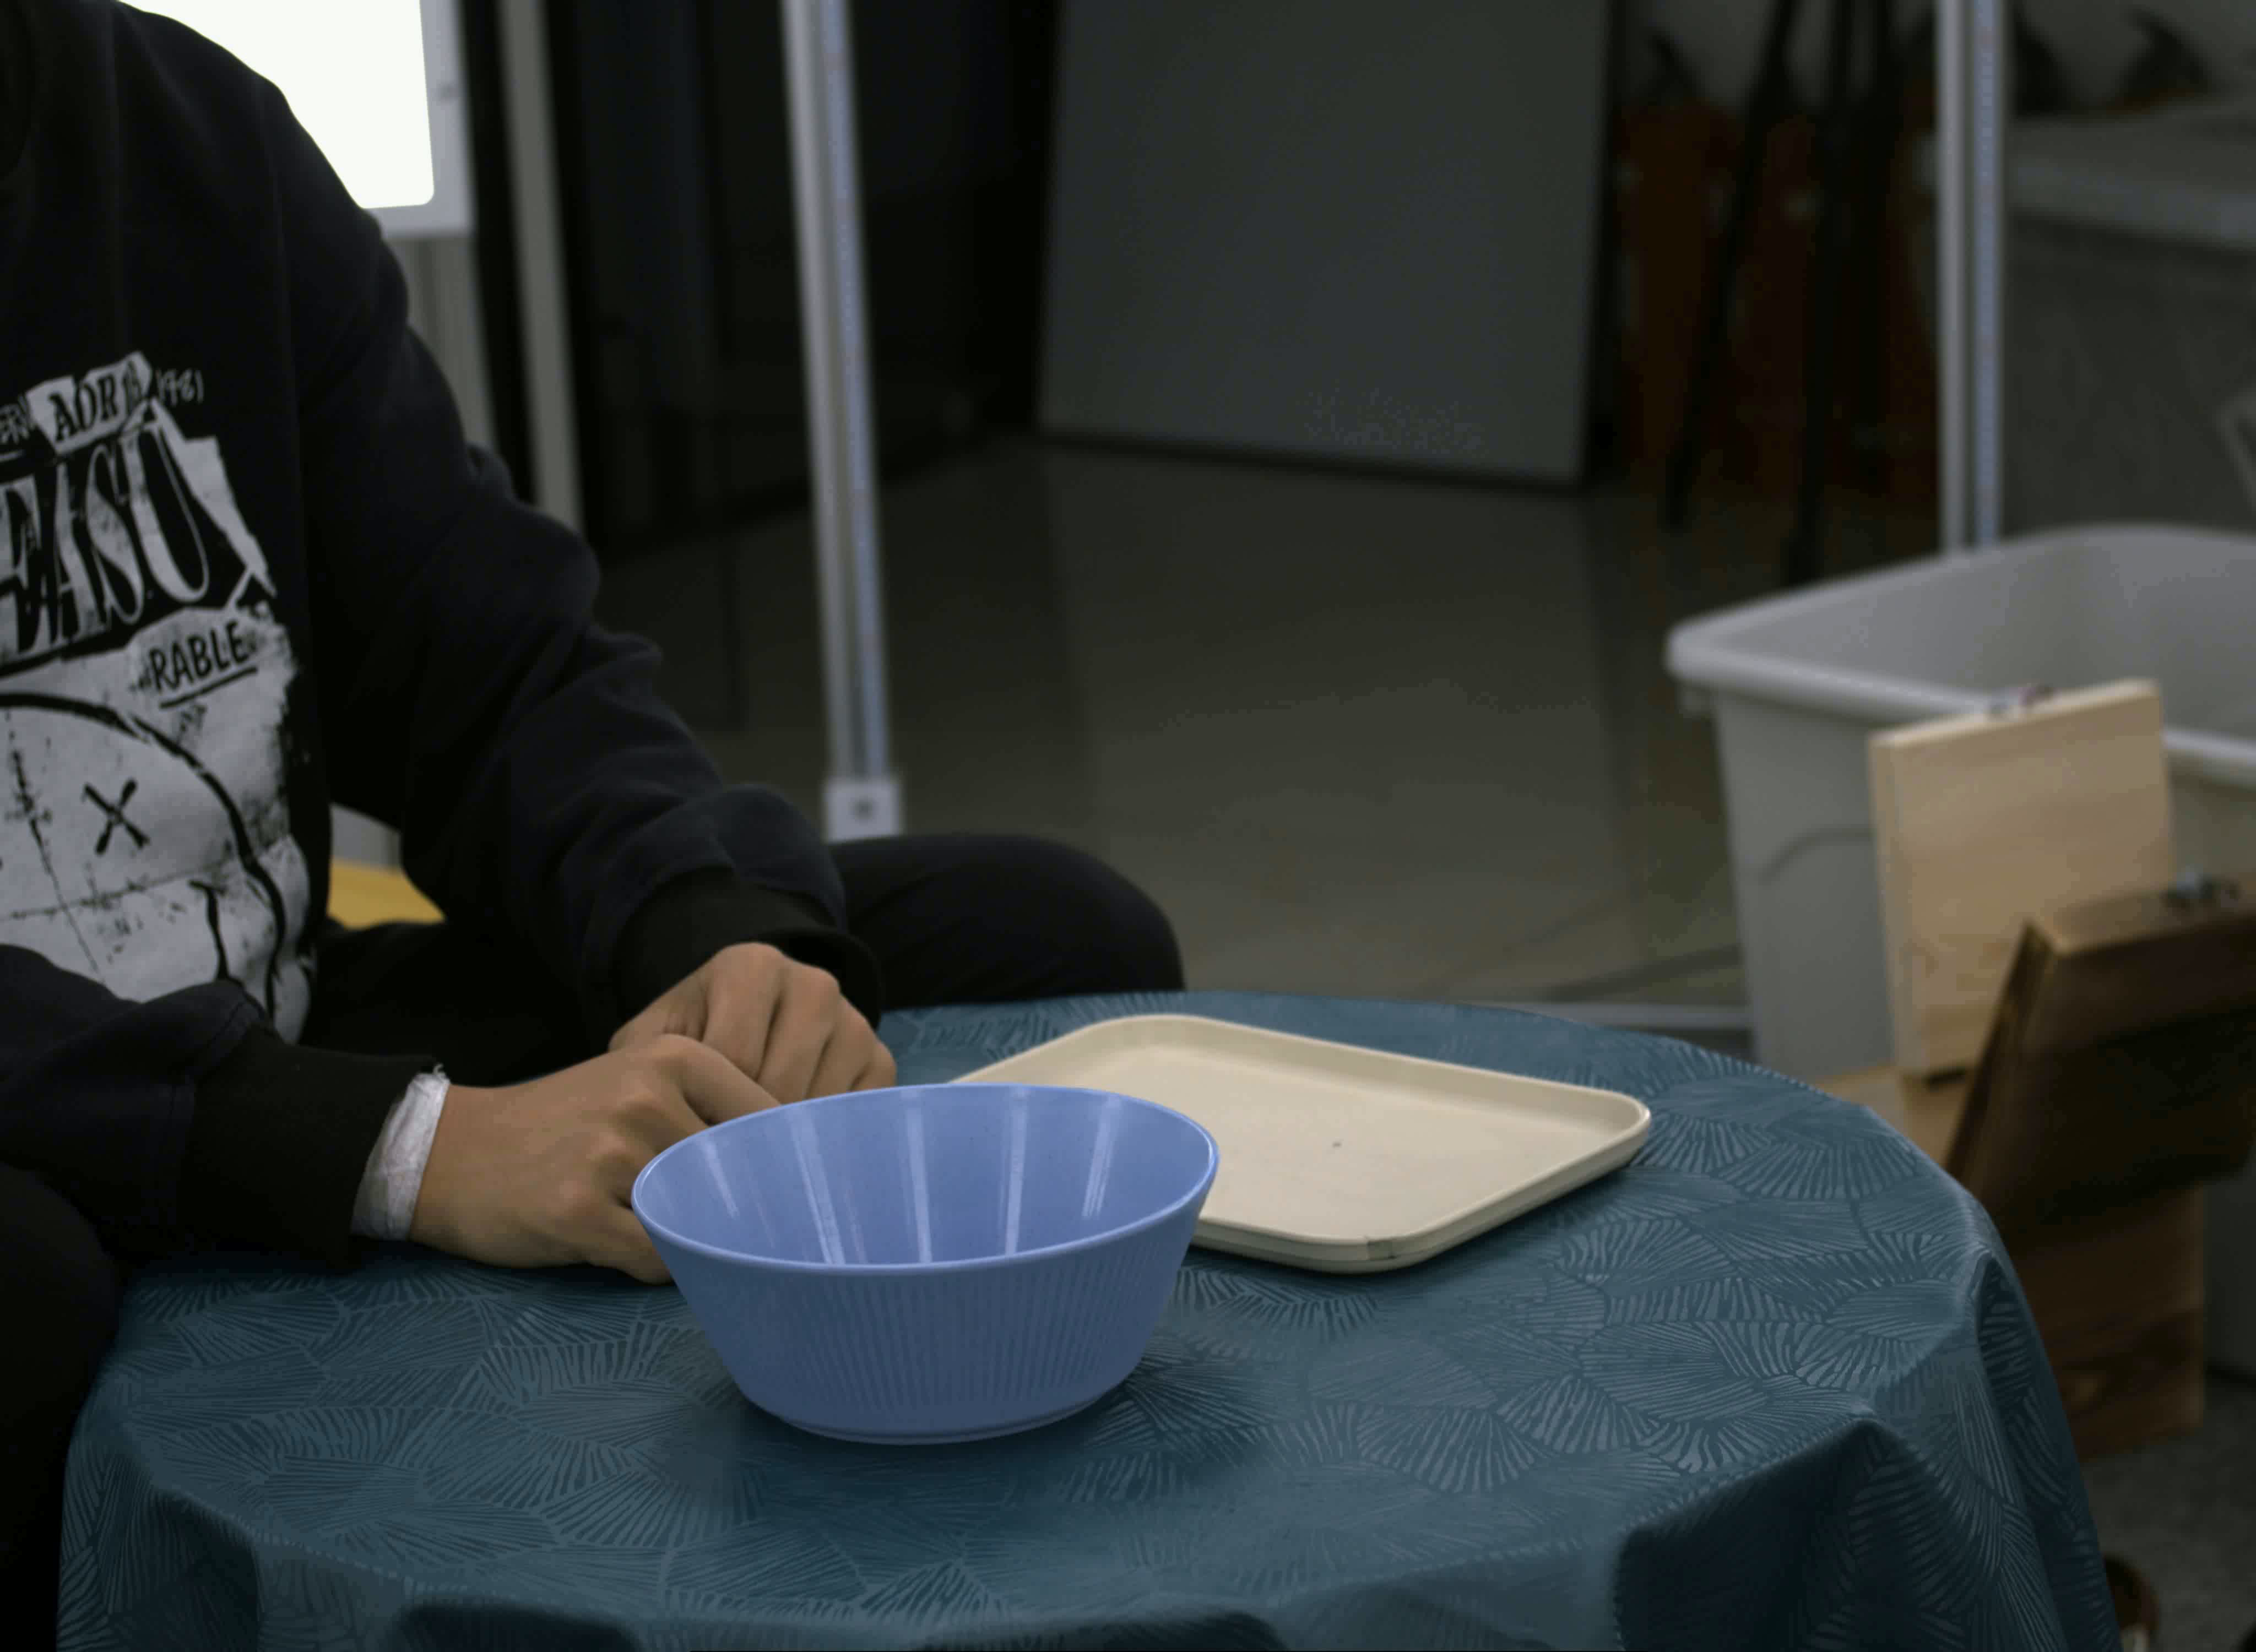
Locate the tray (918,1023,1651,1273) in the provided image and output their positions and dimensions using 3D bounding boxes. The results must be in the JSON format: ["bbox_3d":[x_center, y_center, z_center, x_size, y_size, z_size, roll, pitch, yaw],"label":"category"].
[{"bbox_3d":[0.041,0.106,1.785,0.241,0.017,0.168,8,18,41],"label":"tray"}]

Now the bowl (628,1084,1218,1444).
[{"bbox_3d":[-0.059,0.132,1.596,0.174,0.071,0.176,-3,14,0],"label":"bowl"}]
